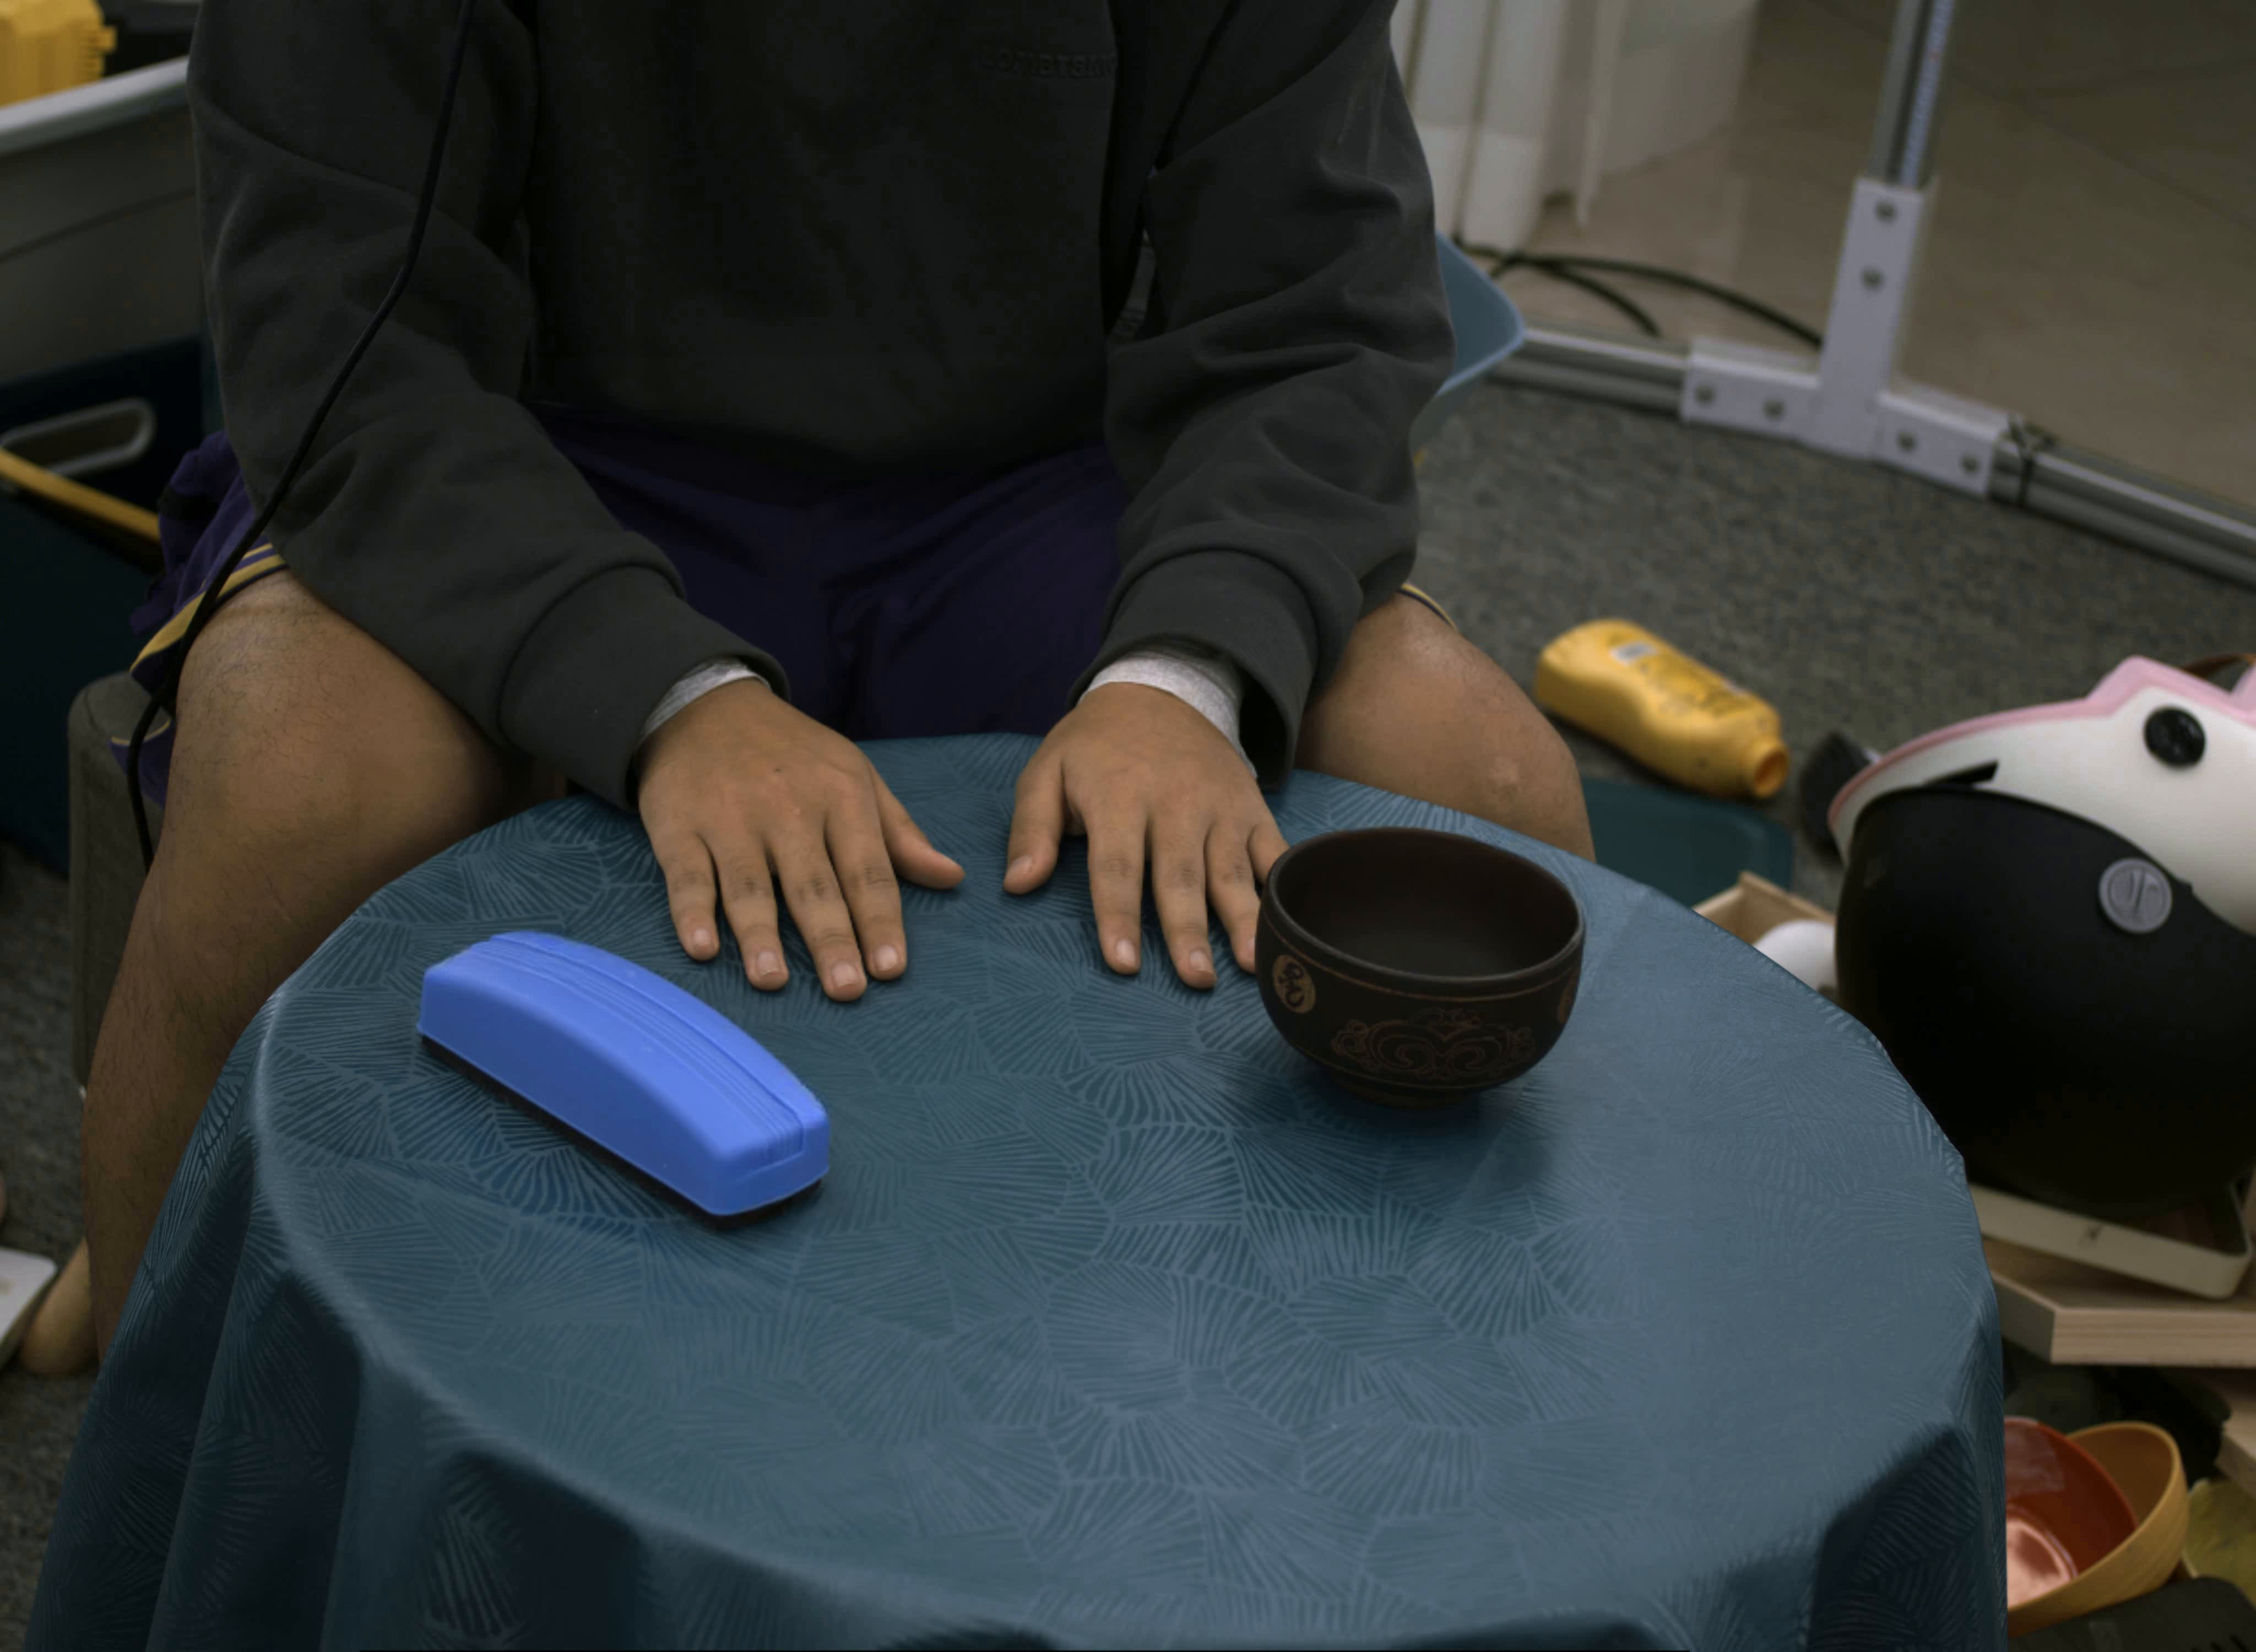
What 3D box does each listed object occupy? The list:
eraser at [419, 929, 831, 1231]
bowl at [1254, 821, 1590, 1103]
[{"bbox_3d":[-0.171,0.079,1.799,0.163,0.047,0.053,28,36,35],"label":"eraser"},{"bbox_3d":[0.101,0.054,1.879,0.117,0.069,0.119,4,26,-2],"label":"bowl"}]
